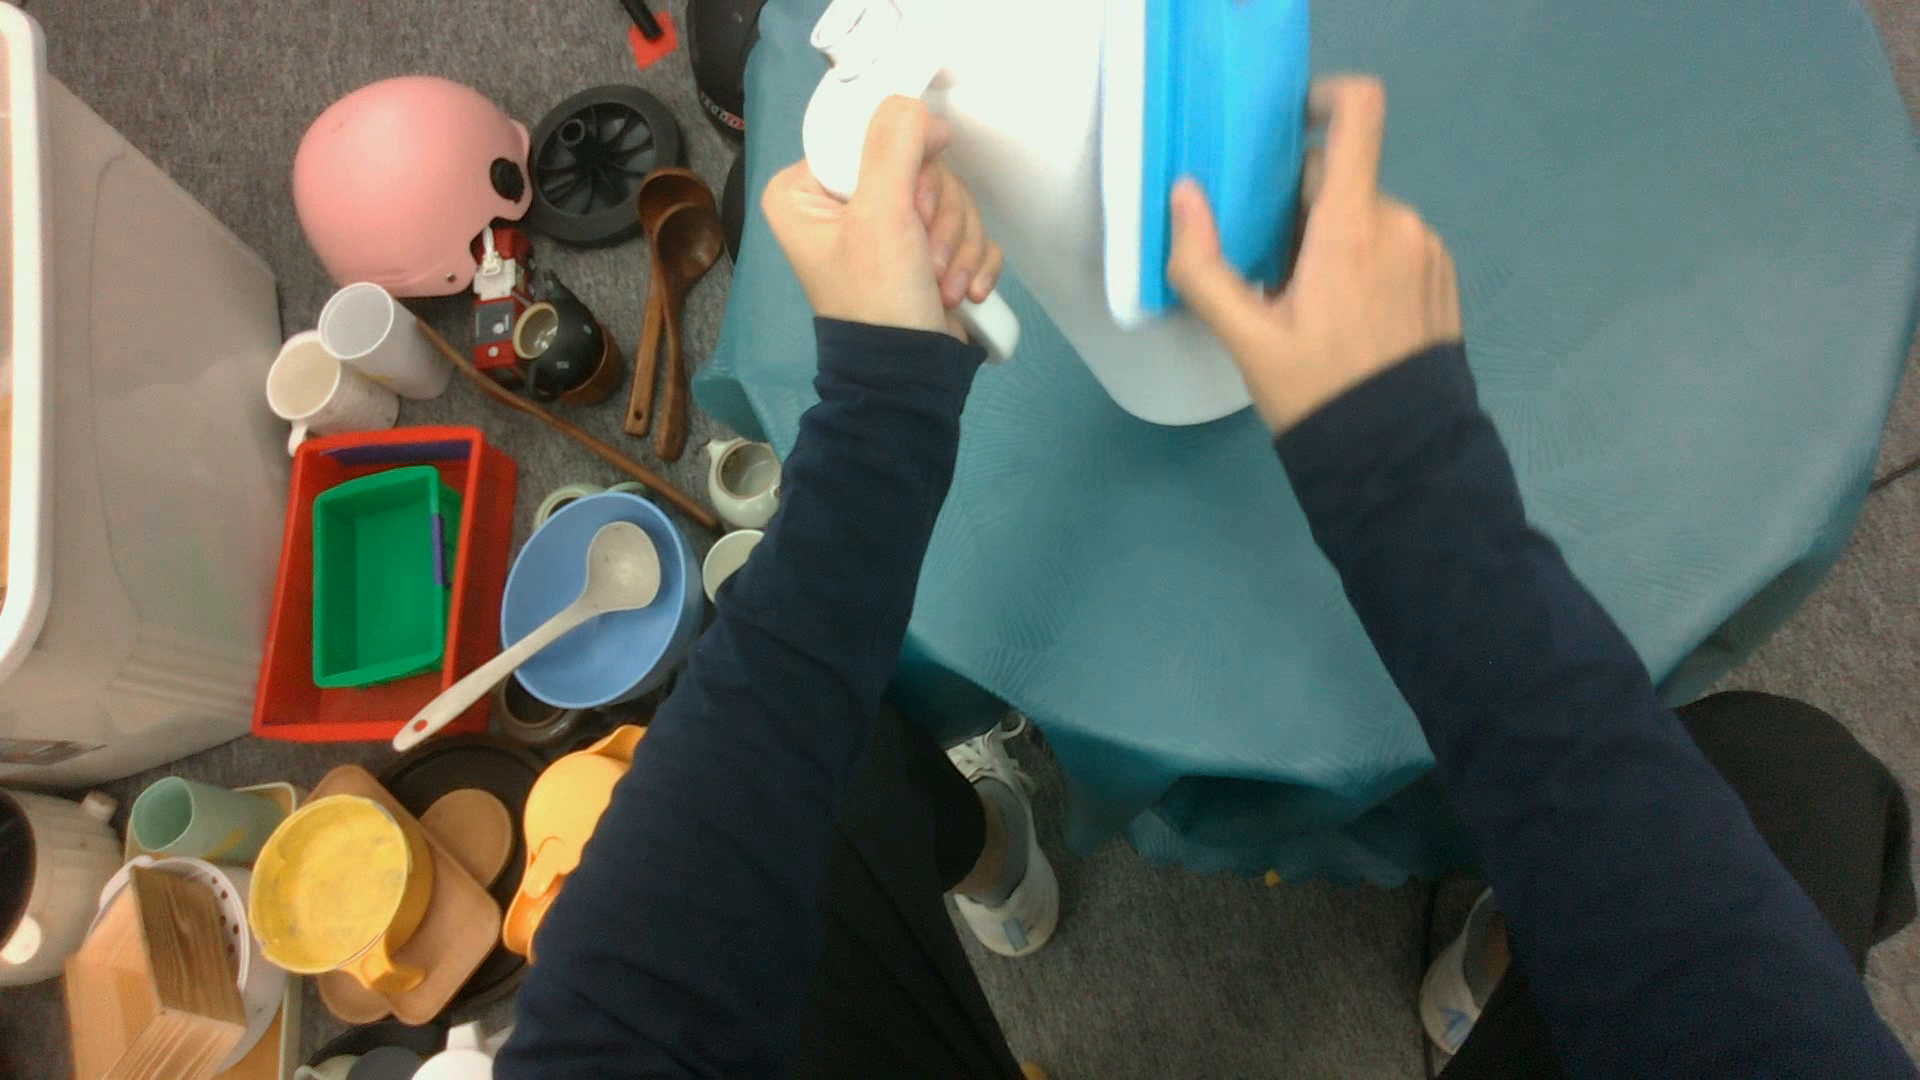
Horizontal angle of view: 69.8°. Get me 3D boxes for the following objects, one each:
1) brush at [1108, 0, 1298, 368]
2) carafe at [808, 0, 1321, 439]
[{"bbox_3d":[0.102,-0.136,0.531,0.084,0.143,0.056,-17,25,-31],"label":"brush"},{"bbox_3d":[0.050,-0.146,0.598,0.123,0.268,0.173,16,71,42],"label":"carafe"}]
